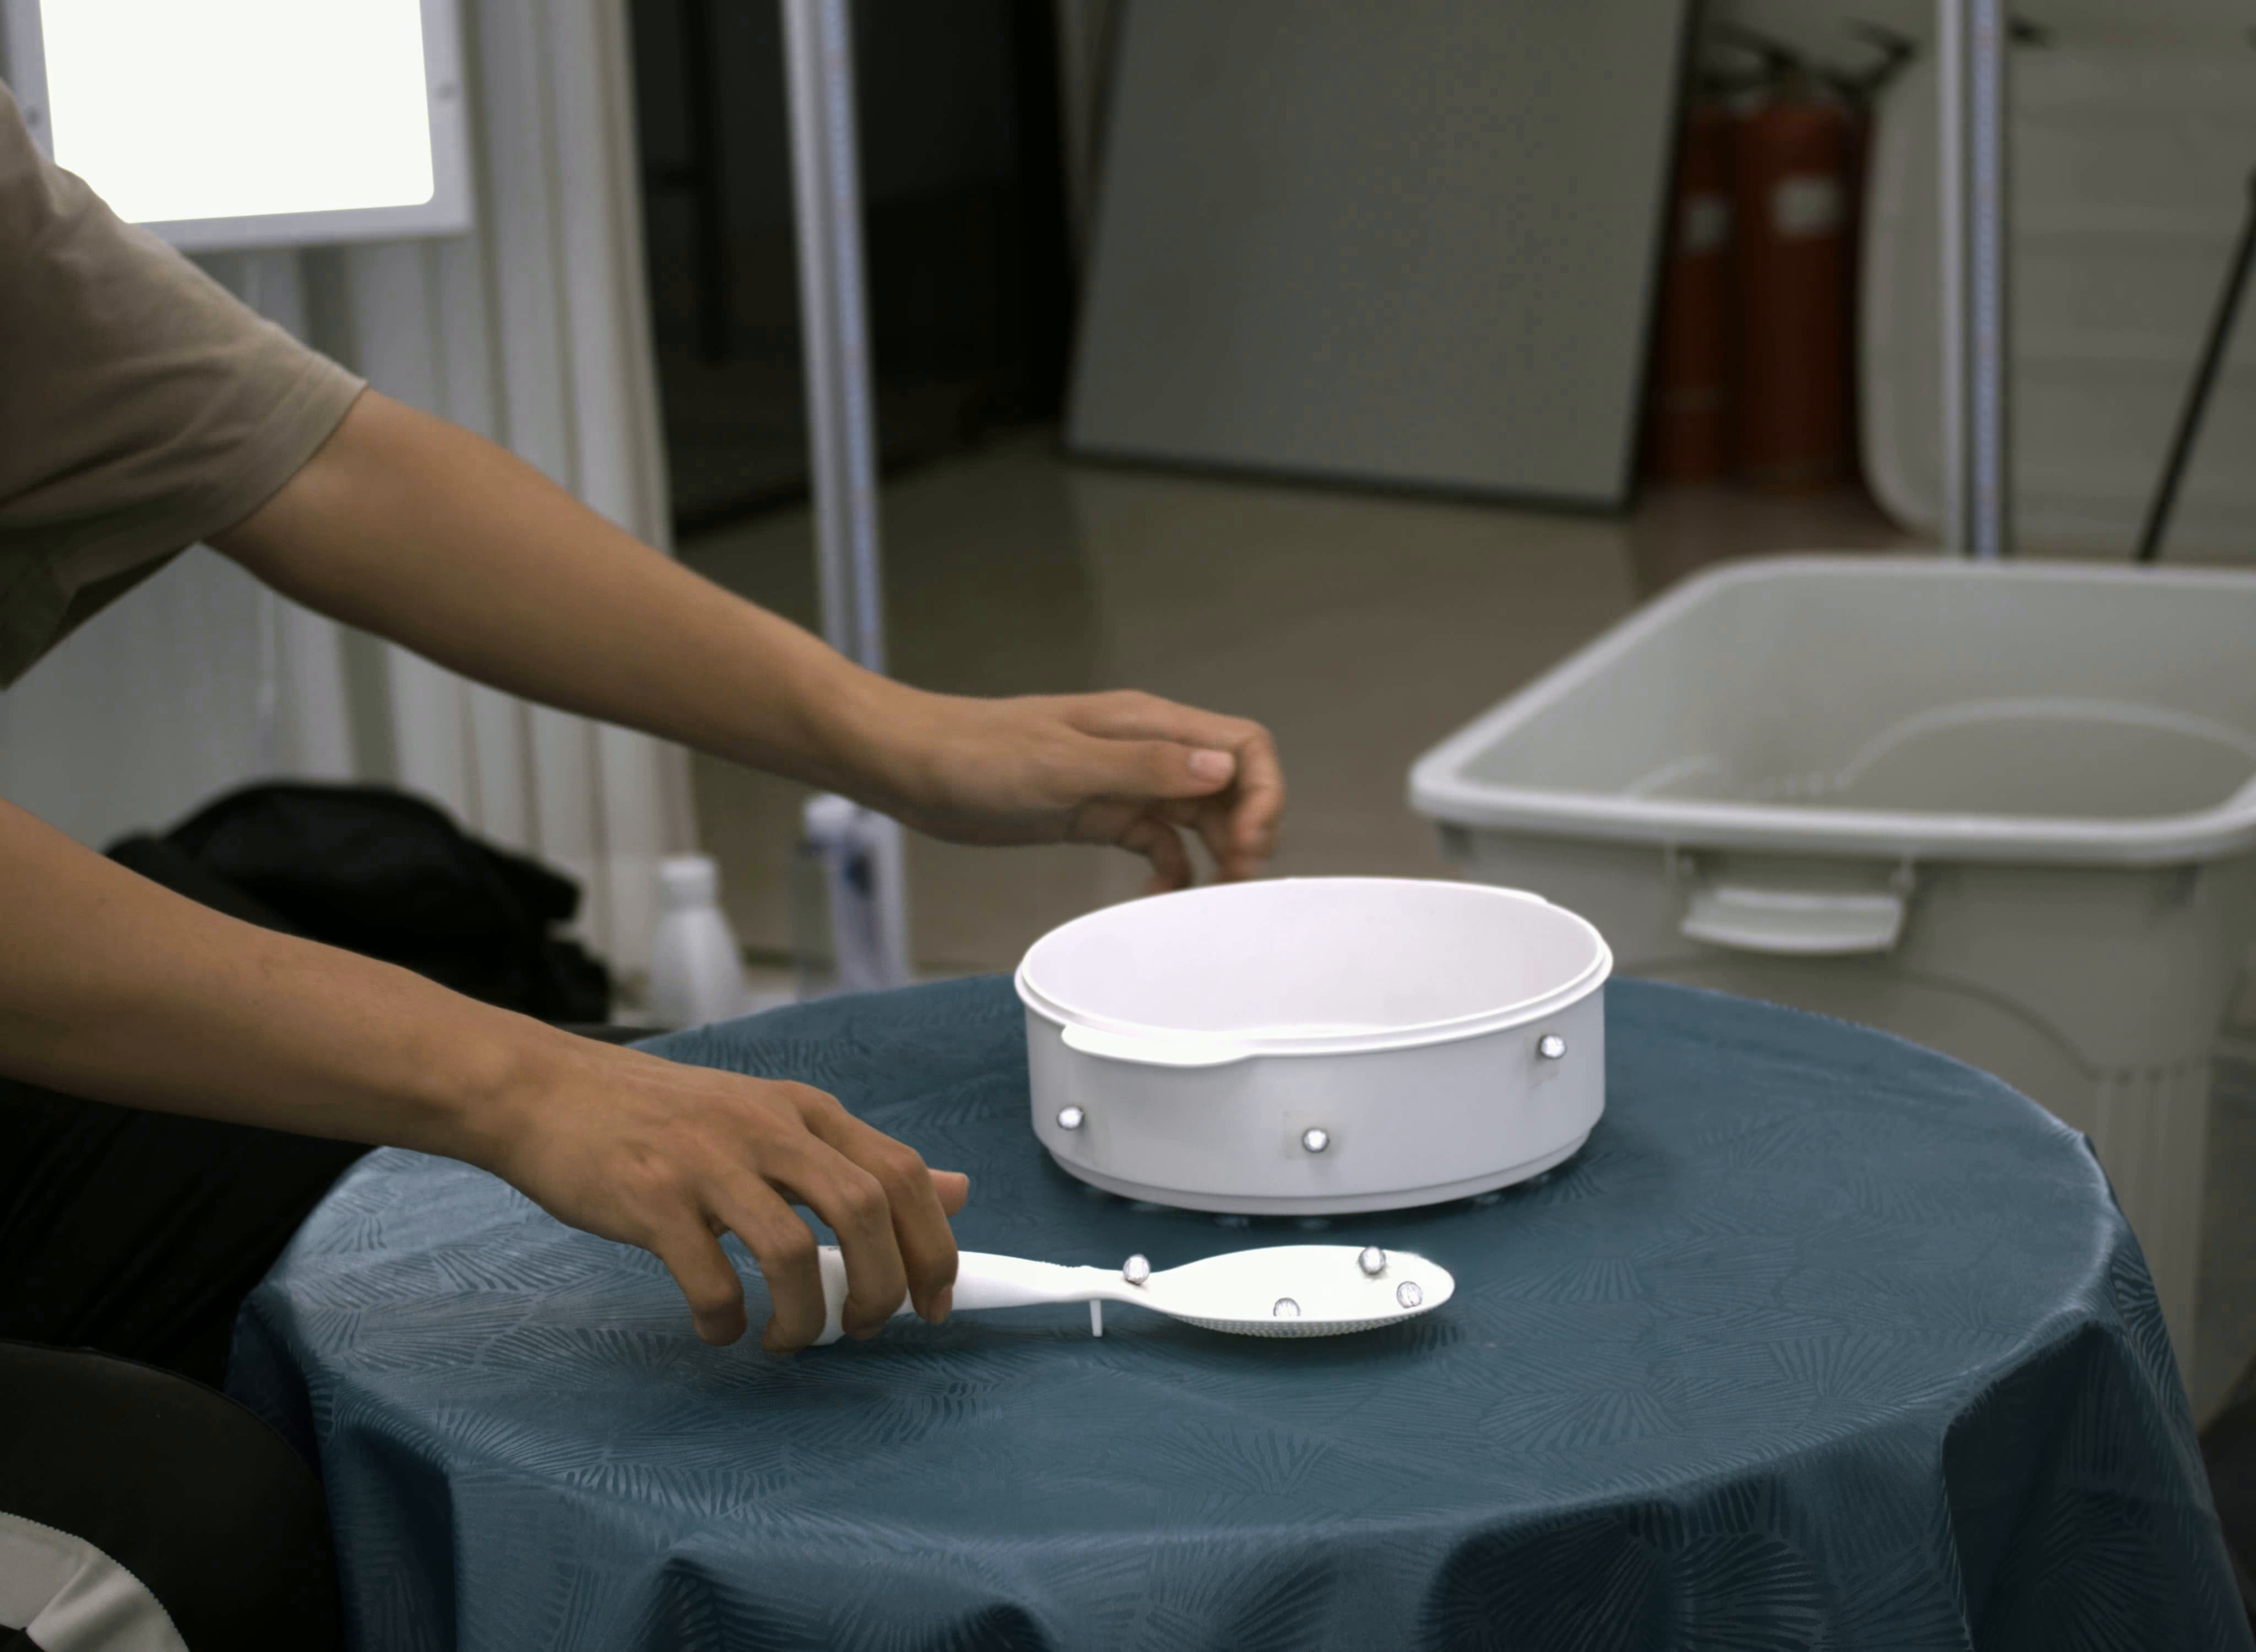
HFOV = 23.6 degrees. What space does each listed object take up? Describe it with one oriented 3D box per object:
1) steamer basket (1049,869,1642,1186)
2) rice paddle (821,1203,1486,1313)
[{"bbox_3d":[0.074,0.068,1.814,0.203,0.070,0.226,6,14,35],"label":"steamer basket"},{"bbox_3d":[0.008,0.129,1.647,0.203,0.030,0.068,-2,15,6],"label":"rice paddle"}]
